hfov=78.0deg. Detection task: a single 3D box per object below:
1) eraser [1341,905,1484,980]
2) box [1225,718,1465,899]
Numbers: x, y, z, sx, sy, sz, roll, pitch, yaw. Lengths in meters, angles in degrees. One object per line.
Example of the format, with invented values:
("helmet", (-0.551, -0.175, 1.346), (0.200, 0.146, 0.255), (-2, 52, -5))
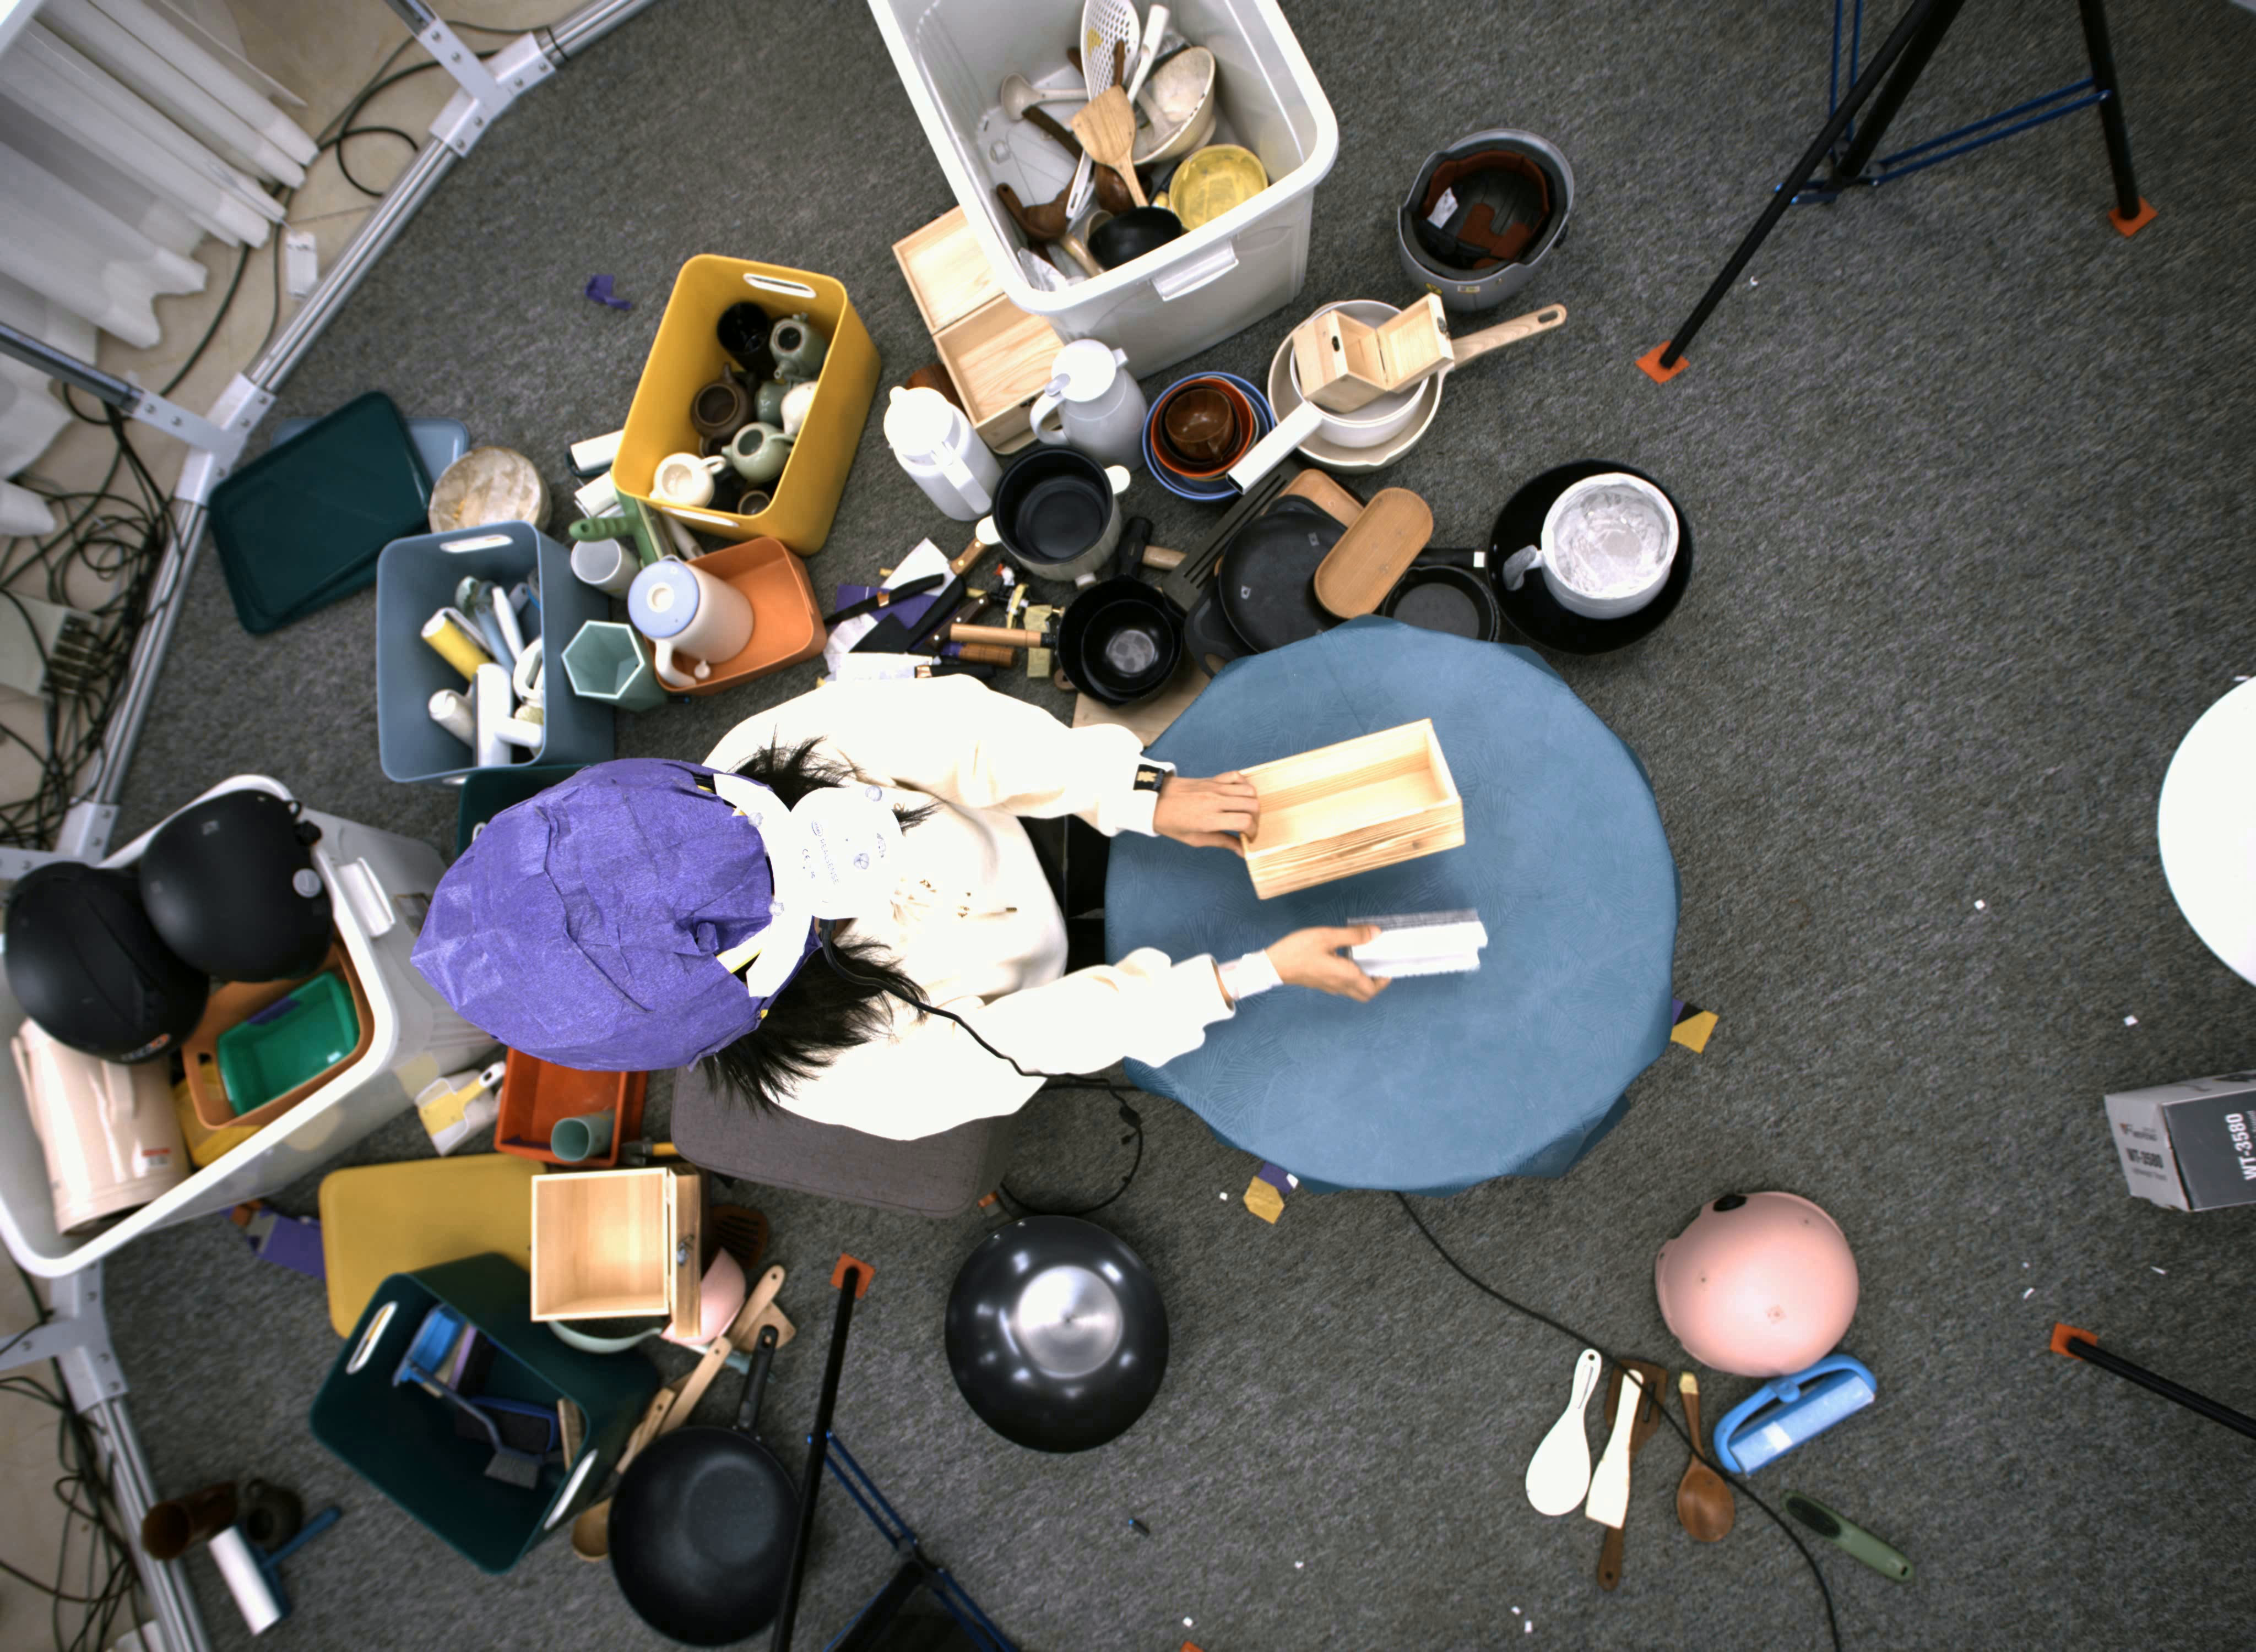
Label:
("eraser", (0.281, 0.114, 1.374), (0.134, 0.051, 0.045), (-8, 54, -1))
("box", (0.215, -0.018, 1.365), (0.212, 0.082, 0.105), (-16, 56, 6))
